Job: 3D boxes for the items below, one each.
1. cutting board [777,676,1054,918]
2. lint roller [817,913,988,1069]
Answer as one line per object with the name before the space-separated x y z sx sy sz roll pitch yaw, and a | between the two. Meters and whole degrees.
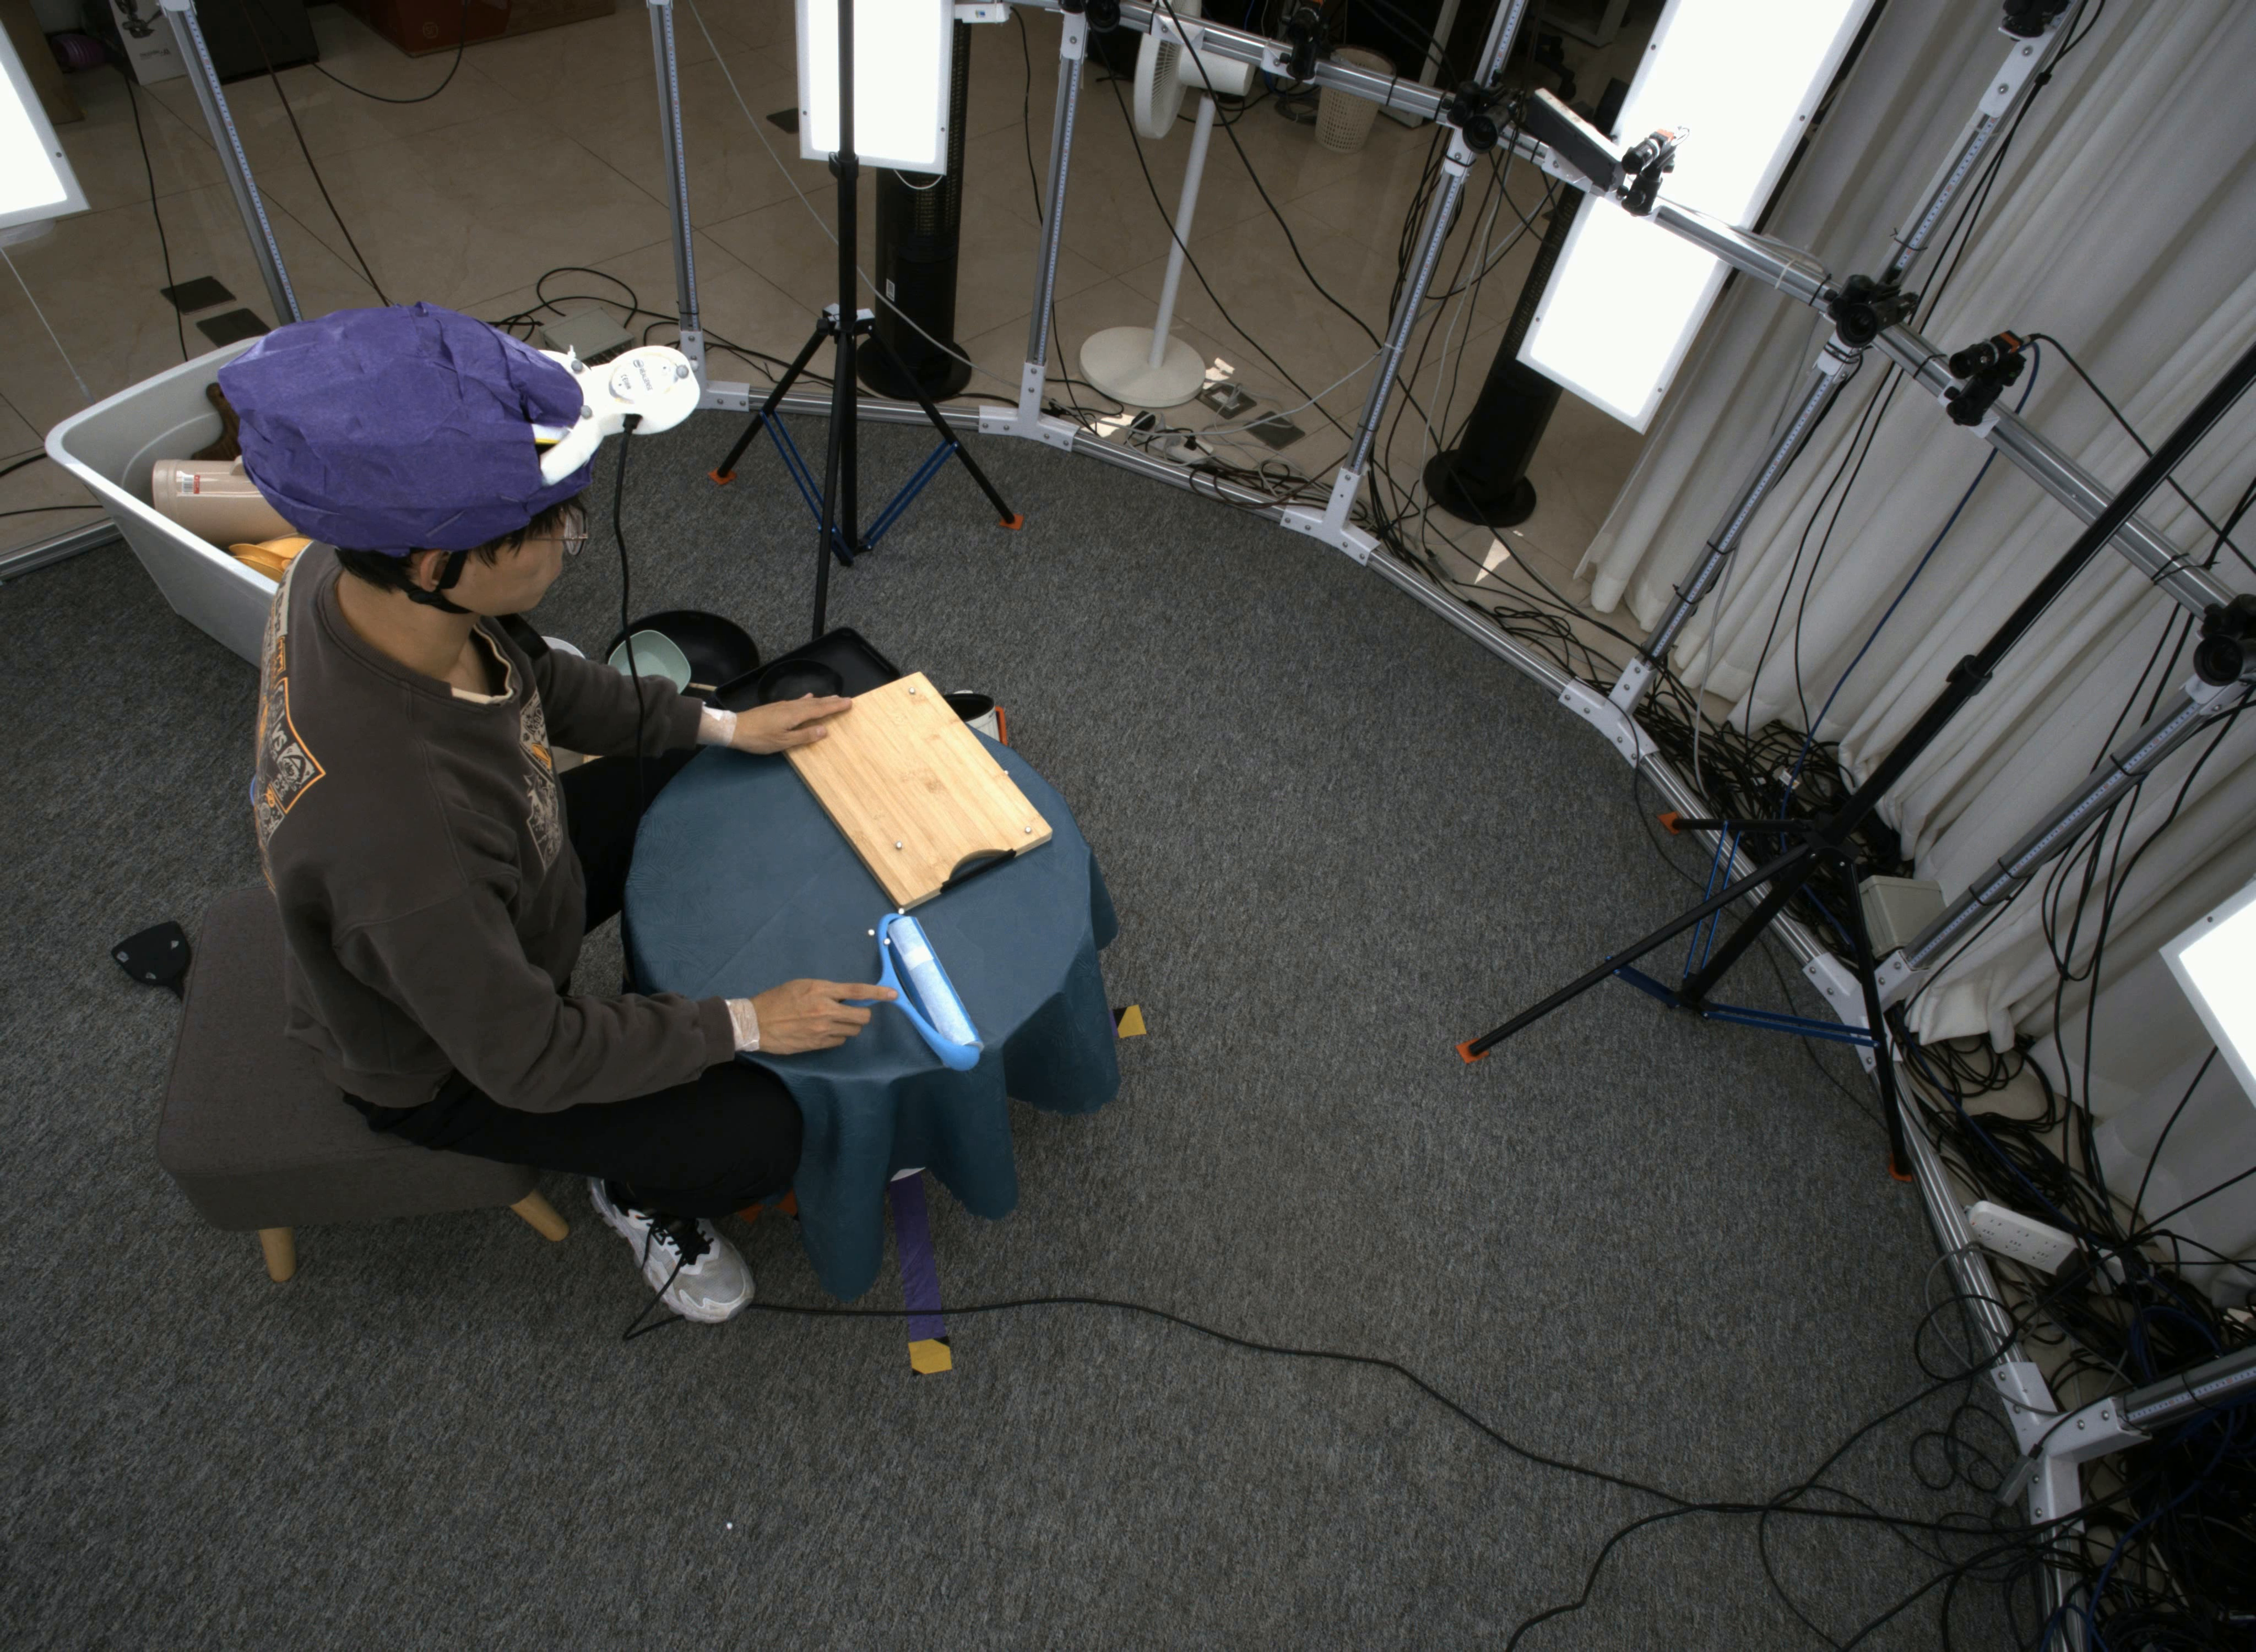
cutting board | -0.295 -0.052 1.797 0.251 0.024 0.340 -29 65 -29
lint roller | -0.286 0.213 1.569 0.182 0.069 0.224 -18 62 -35
